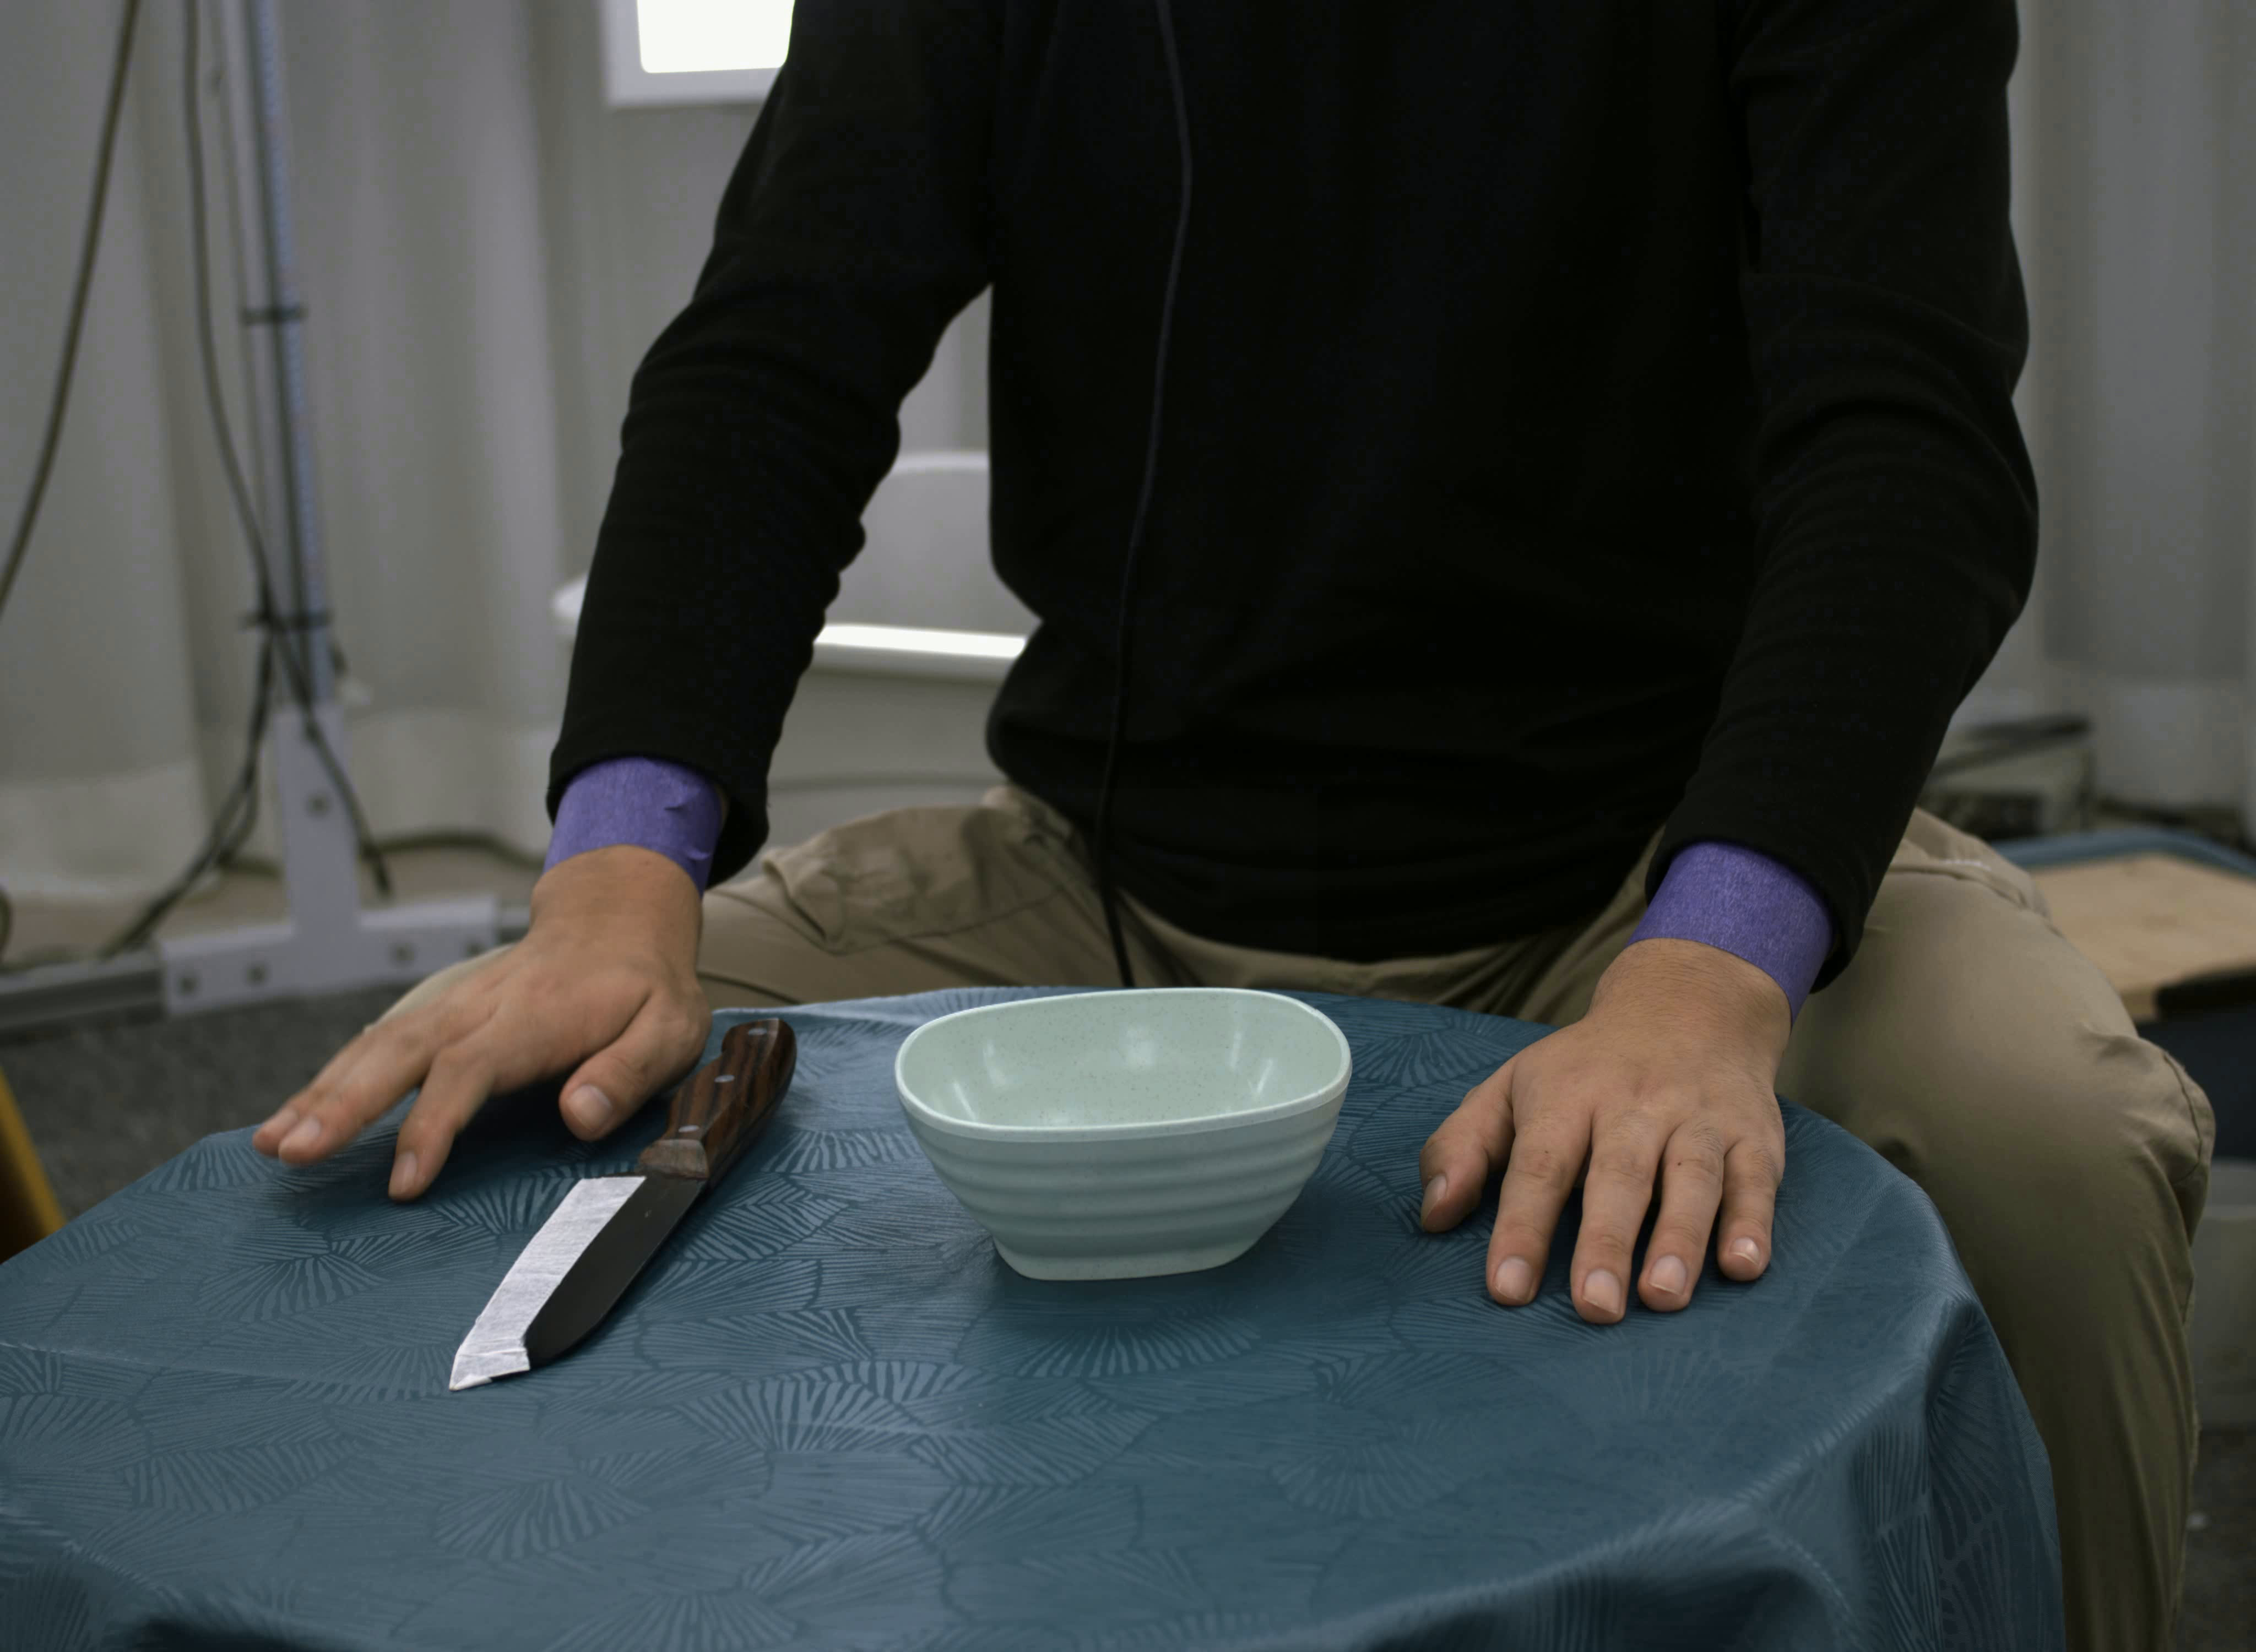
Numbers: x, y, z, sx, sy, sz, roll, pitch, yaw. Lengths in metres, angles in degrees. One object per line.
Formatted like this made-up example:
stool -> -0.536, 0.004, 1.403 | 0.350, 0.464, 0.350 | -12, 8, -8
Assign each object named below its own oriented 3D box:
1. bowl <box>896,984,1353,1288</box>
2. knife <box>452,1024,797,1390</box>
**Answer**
bowl -> 0.000, 0.098, 1.670 | 0.151, 0.058, 0.152 | -3, 16, 0
knife -> -0.154, 0.118, 1.703 | 0.050, 0.020, 0.291 | -4, 17, 16
